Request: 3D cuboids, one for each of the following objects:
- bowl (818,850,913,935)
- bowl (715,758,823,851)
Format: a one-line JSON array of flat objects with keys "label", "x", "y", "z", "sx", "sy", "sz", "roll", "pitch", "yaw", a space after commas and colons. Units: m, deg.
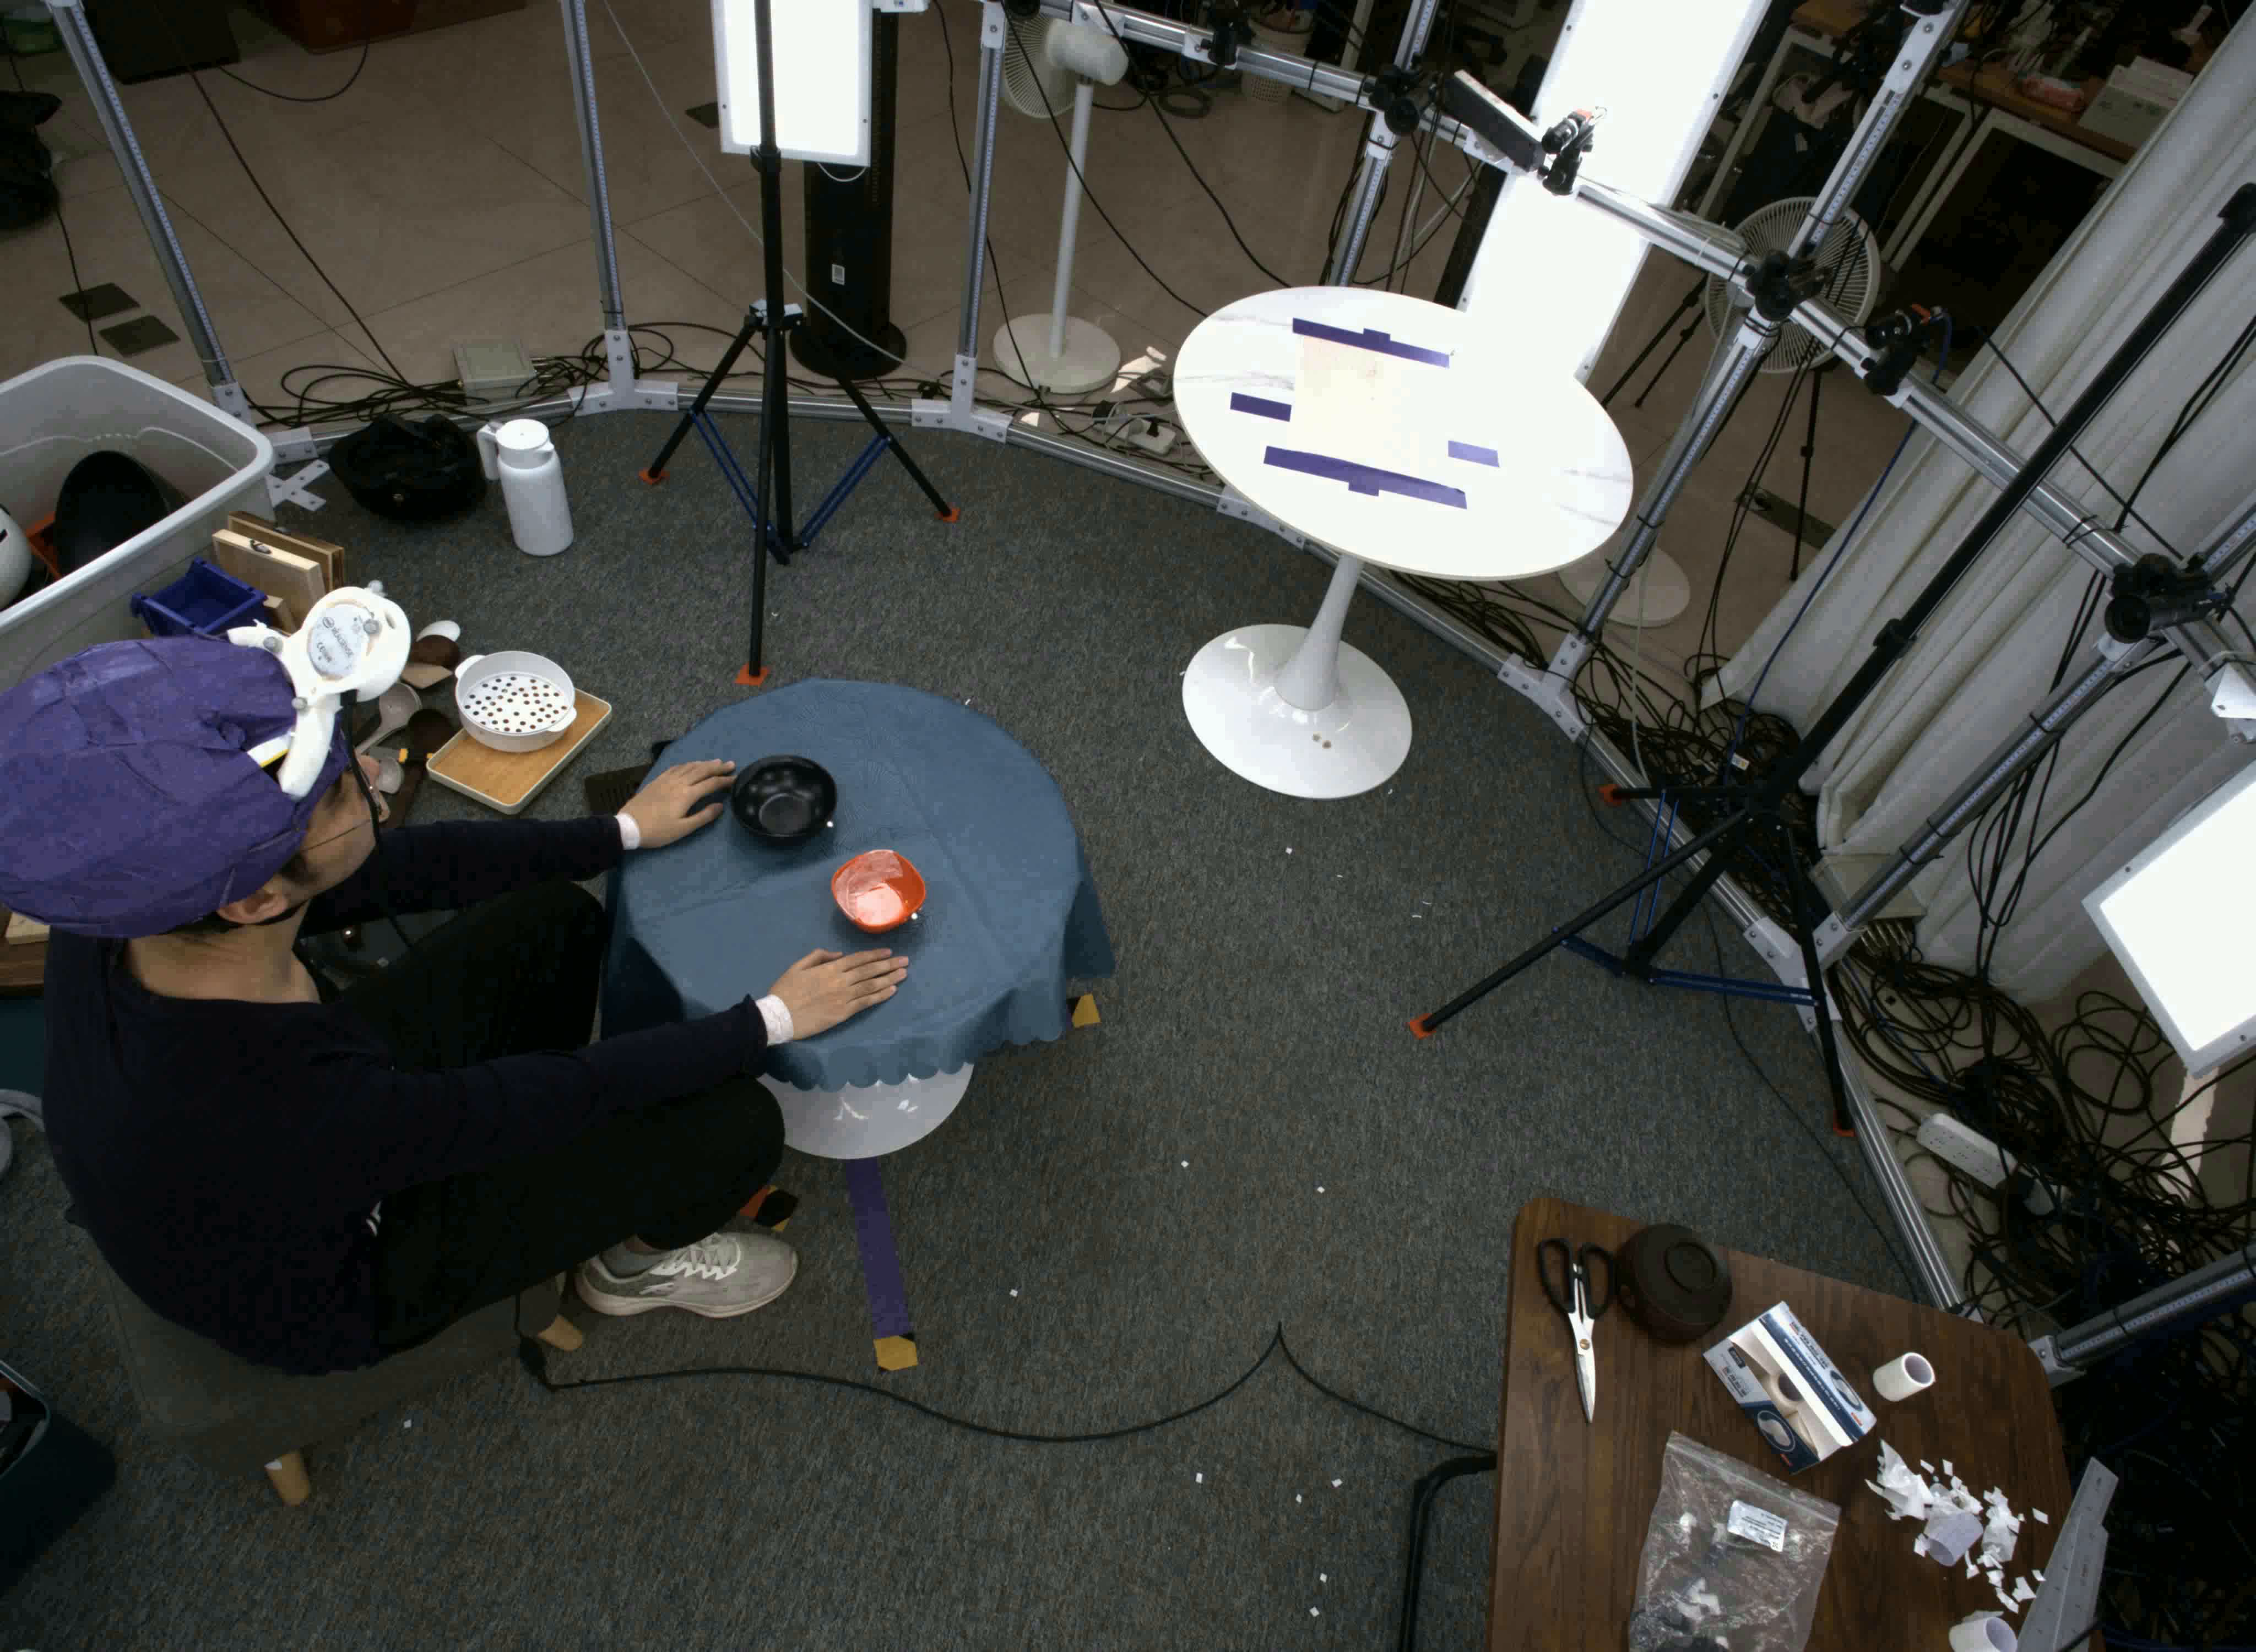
[{"label": "bowl", "x": -0.335, "y": 0.092, "z": 1.656, "sx": 0.119, "sy": 0.052, "sz": 0.117, "roll": 9, "pitch": 52, "yaw": -10}, {"label": "bowl", "x": -0.472, "y": -0.021, "z": 1.711, "sx": 0.139, "sy": 0.051, "sz": 0.138, "roll": 5, "pitch": 56, "yaw": -6}]
